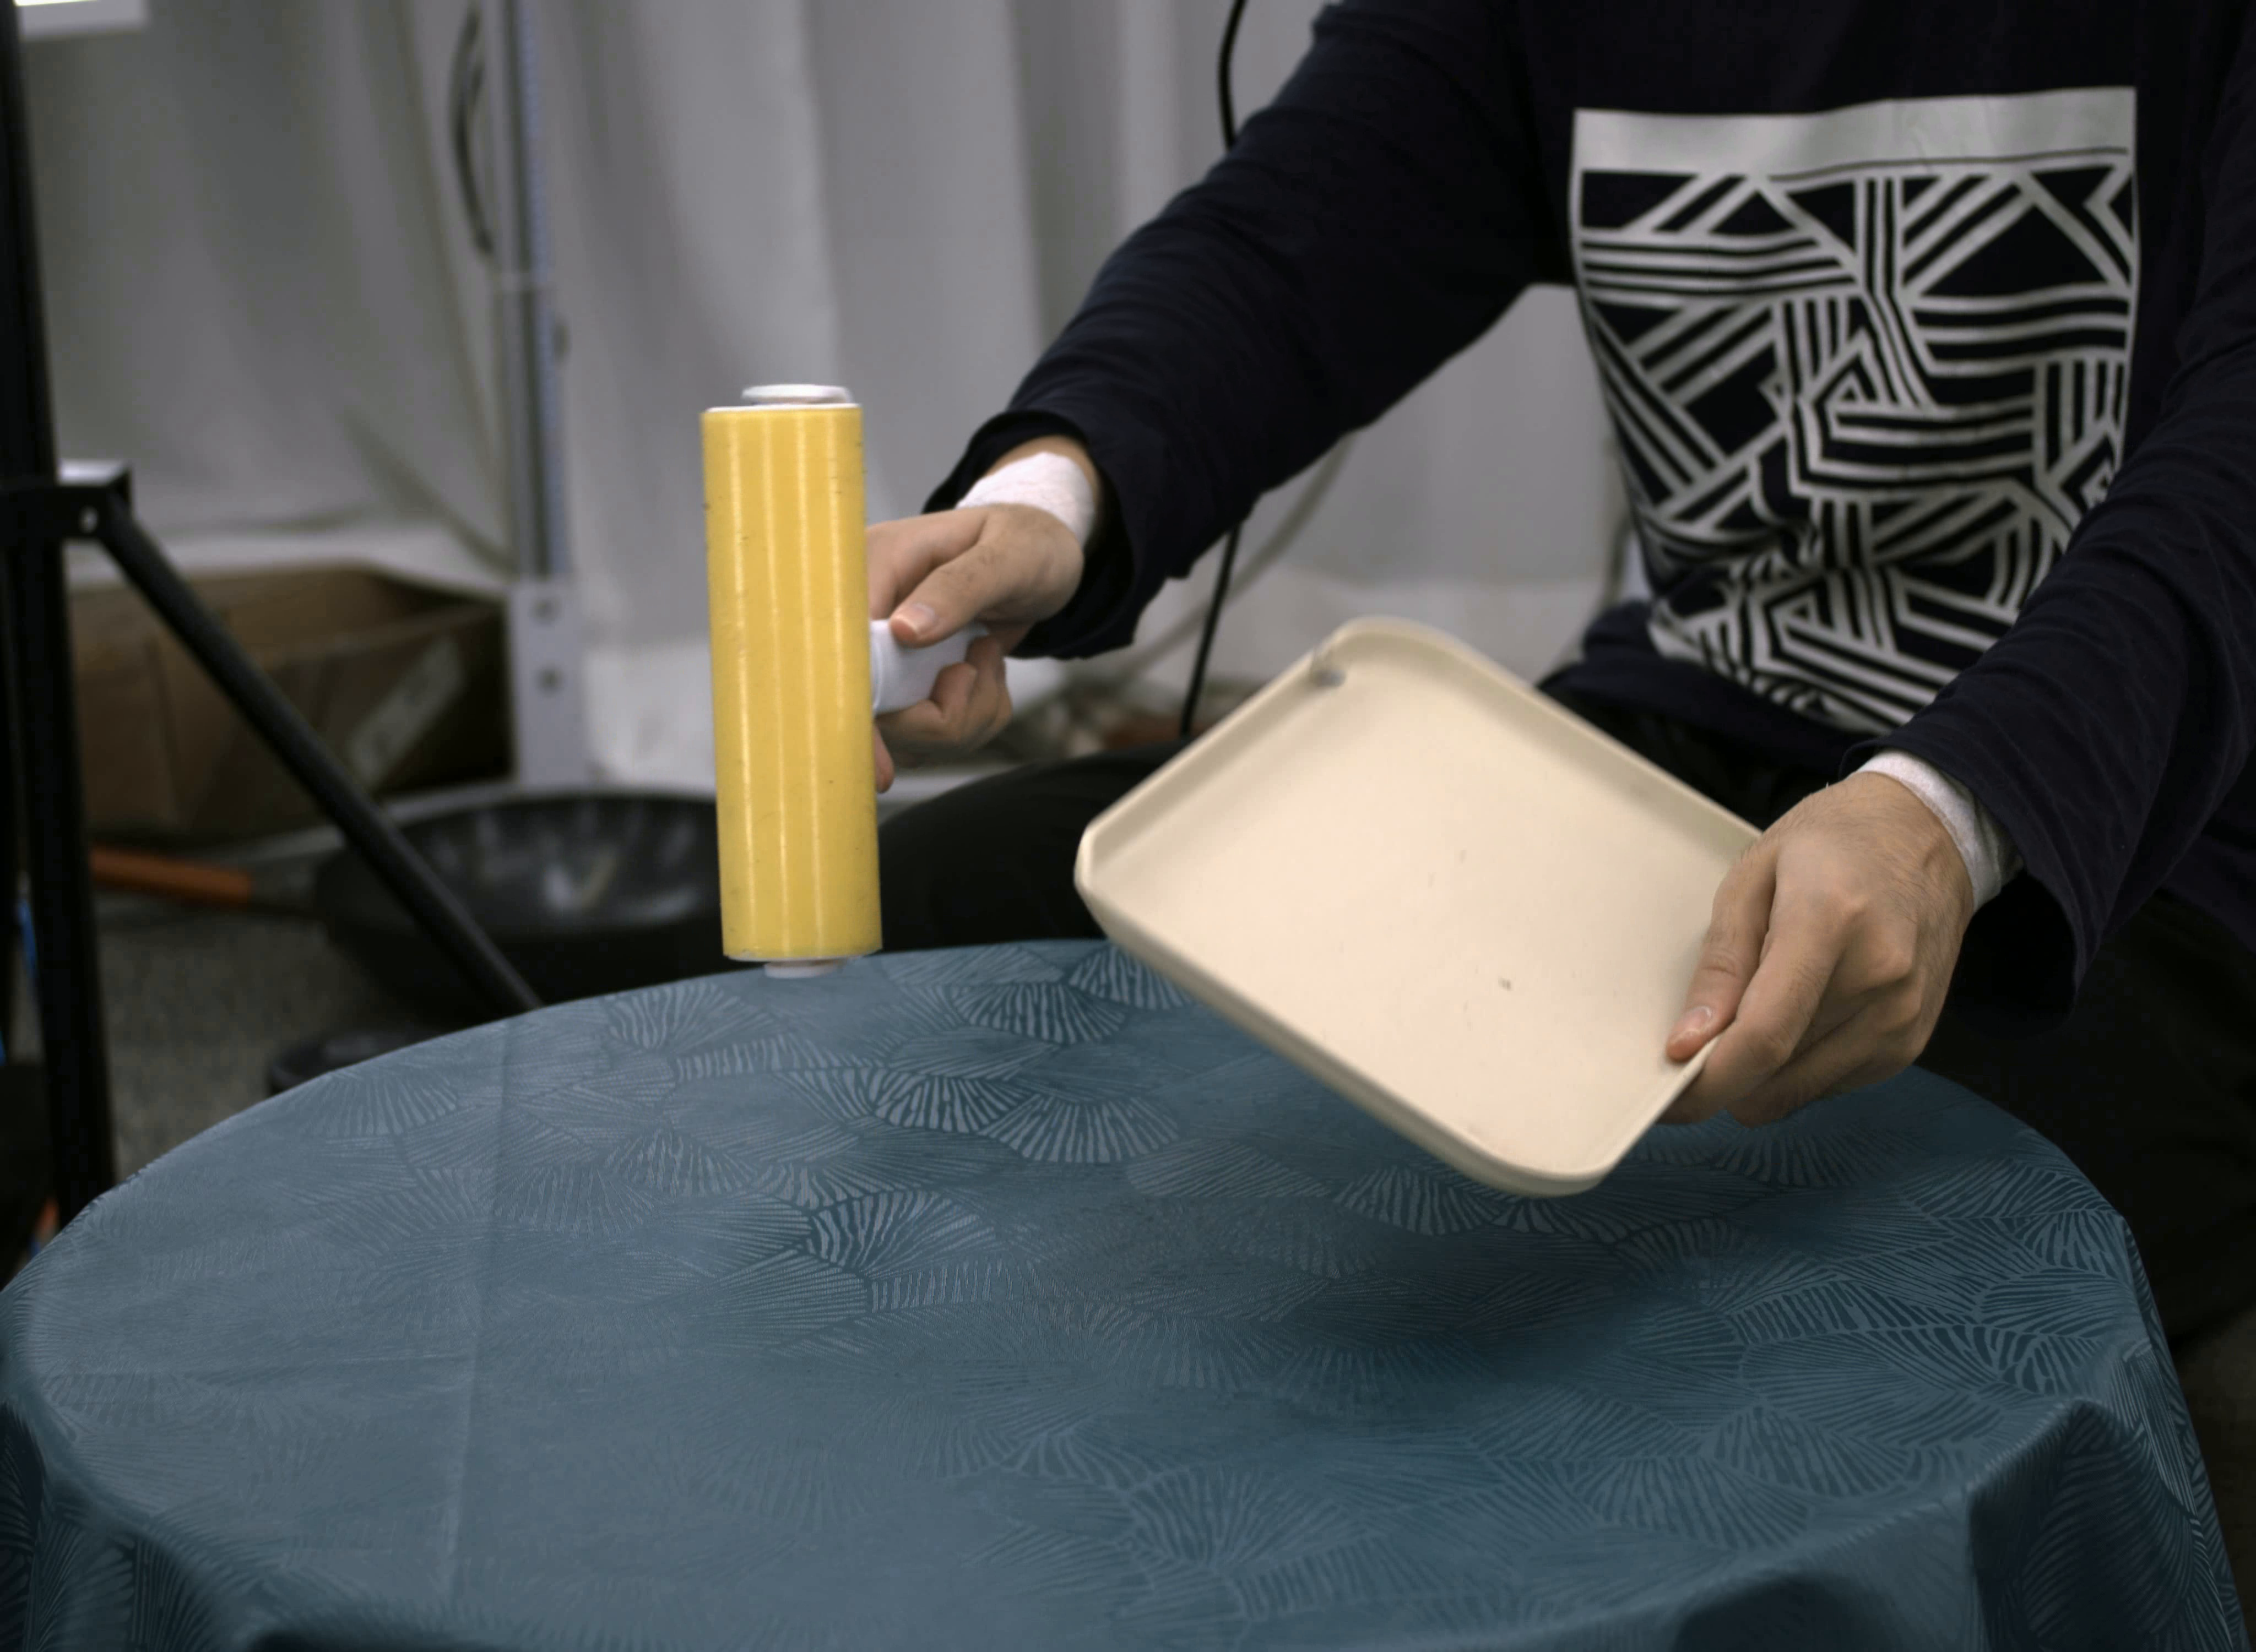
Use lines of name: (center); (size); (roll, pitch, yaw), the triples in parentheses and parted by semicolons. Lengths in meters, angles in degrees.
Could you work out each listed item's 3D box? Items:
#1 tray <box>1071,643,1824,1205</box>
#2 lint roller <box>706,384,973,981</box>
tray: (0.093, 0.025, 1.494); (0.173, 0.017, 0.236); (30, 30, 14)
lint roller: (-0.087, -0.045, 1.637); (0.051, 0.175, 0.191); (-1, 2, 8)
